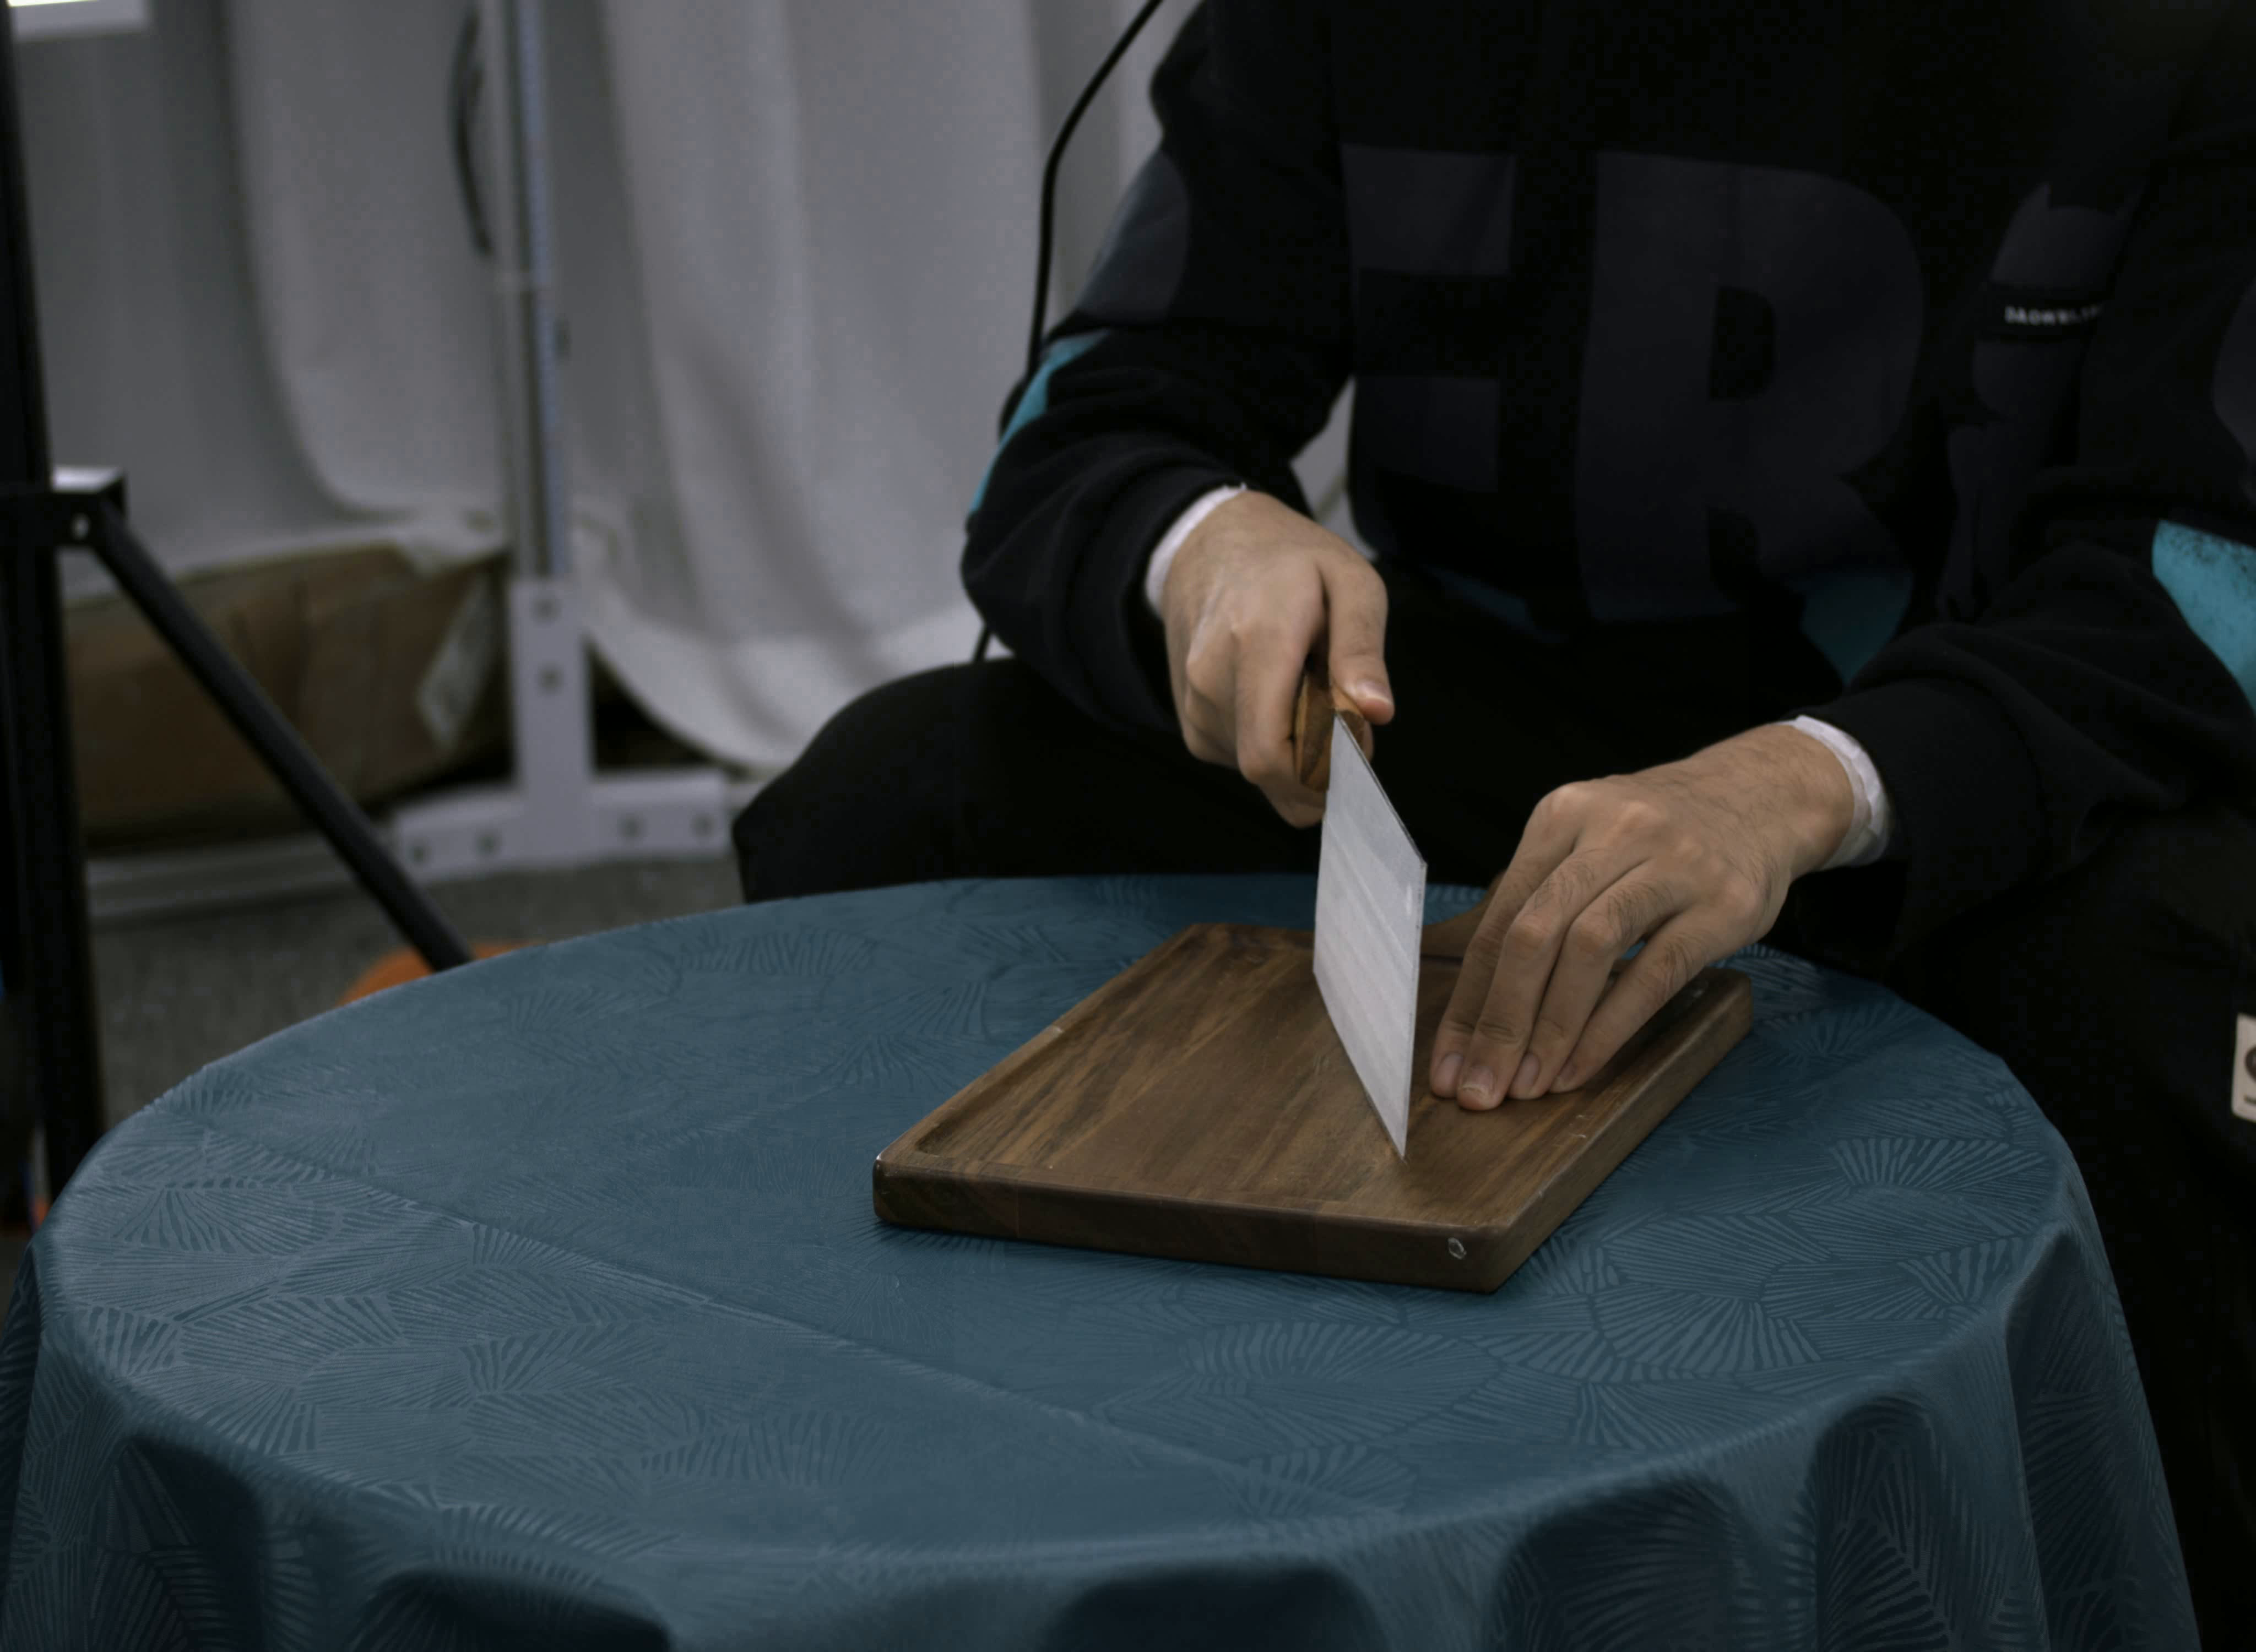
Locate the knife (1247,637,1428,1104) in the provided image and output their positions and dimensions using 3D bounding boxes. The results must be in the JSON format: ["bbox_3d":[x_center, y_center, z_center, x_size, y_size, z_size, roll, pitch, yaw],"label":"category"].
[{"bbox_3d":[0.065,0.013,1.647,0.021,0.093,0.308,2,15,-7],"label":"knife"}]

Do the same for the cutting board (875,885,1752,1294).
[{"bbox_3d":[0.081,0.072,1.647,0.204,0.023,0.347,5,16,23],"label":"cutting board"}]
